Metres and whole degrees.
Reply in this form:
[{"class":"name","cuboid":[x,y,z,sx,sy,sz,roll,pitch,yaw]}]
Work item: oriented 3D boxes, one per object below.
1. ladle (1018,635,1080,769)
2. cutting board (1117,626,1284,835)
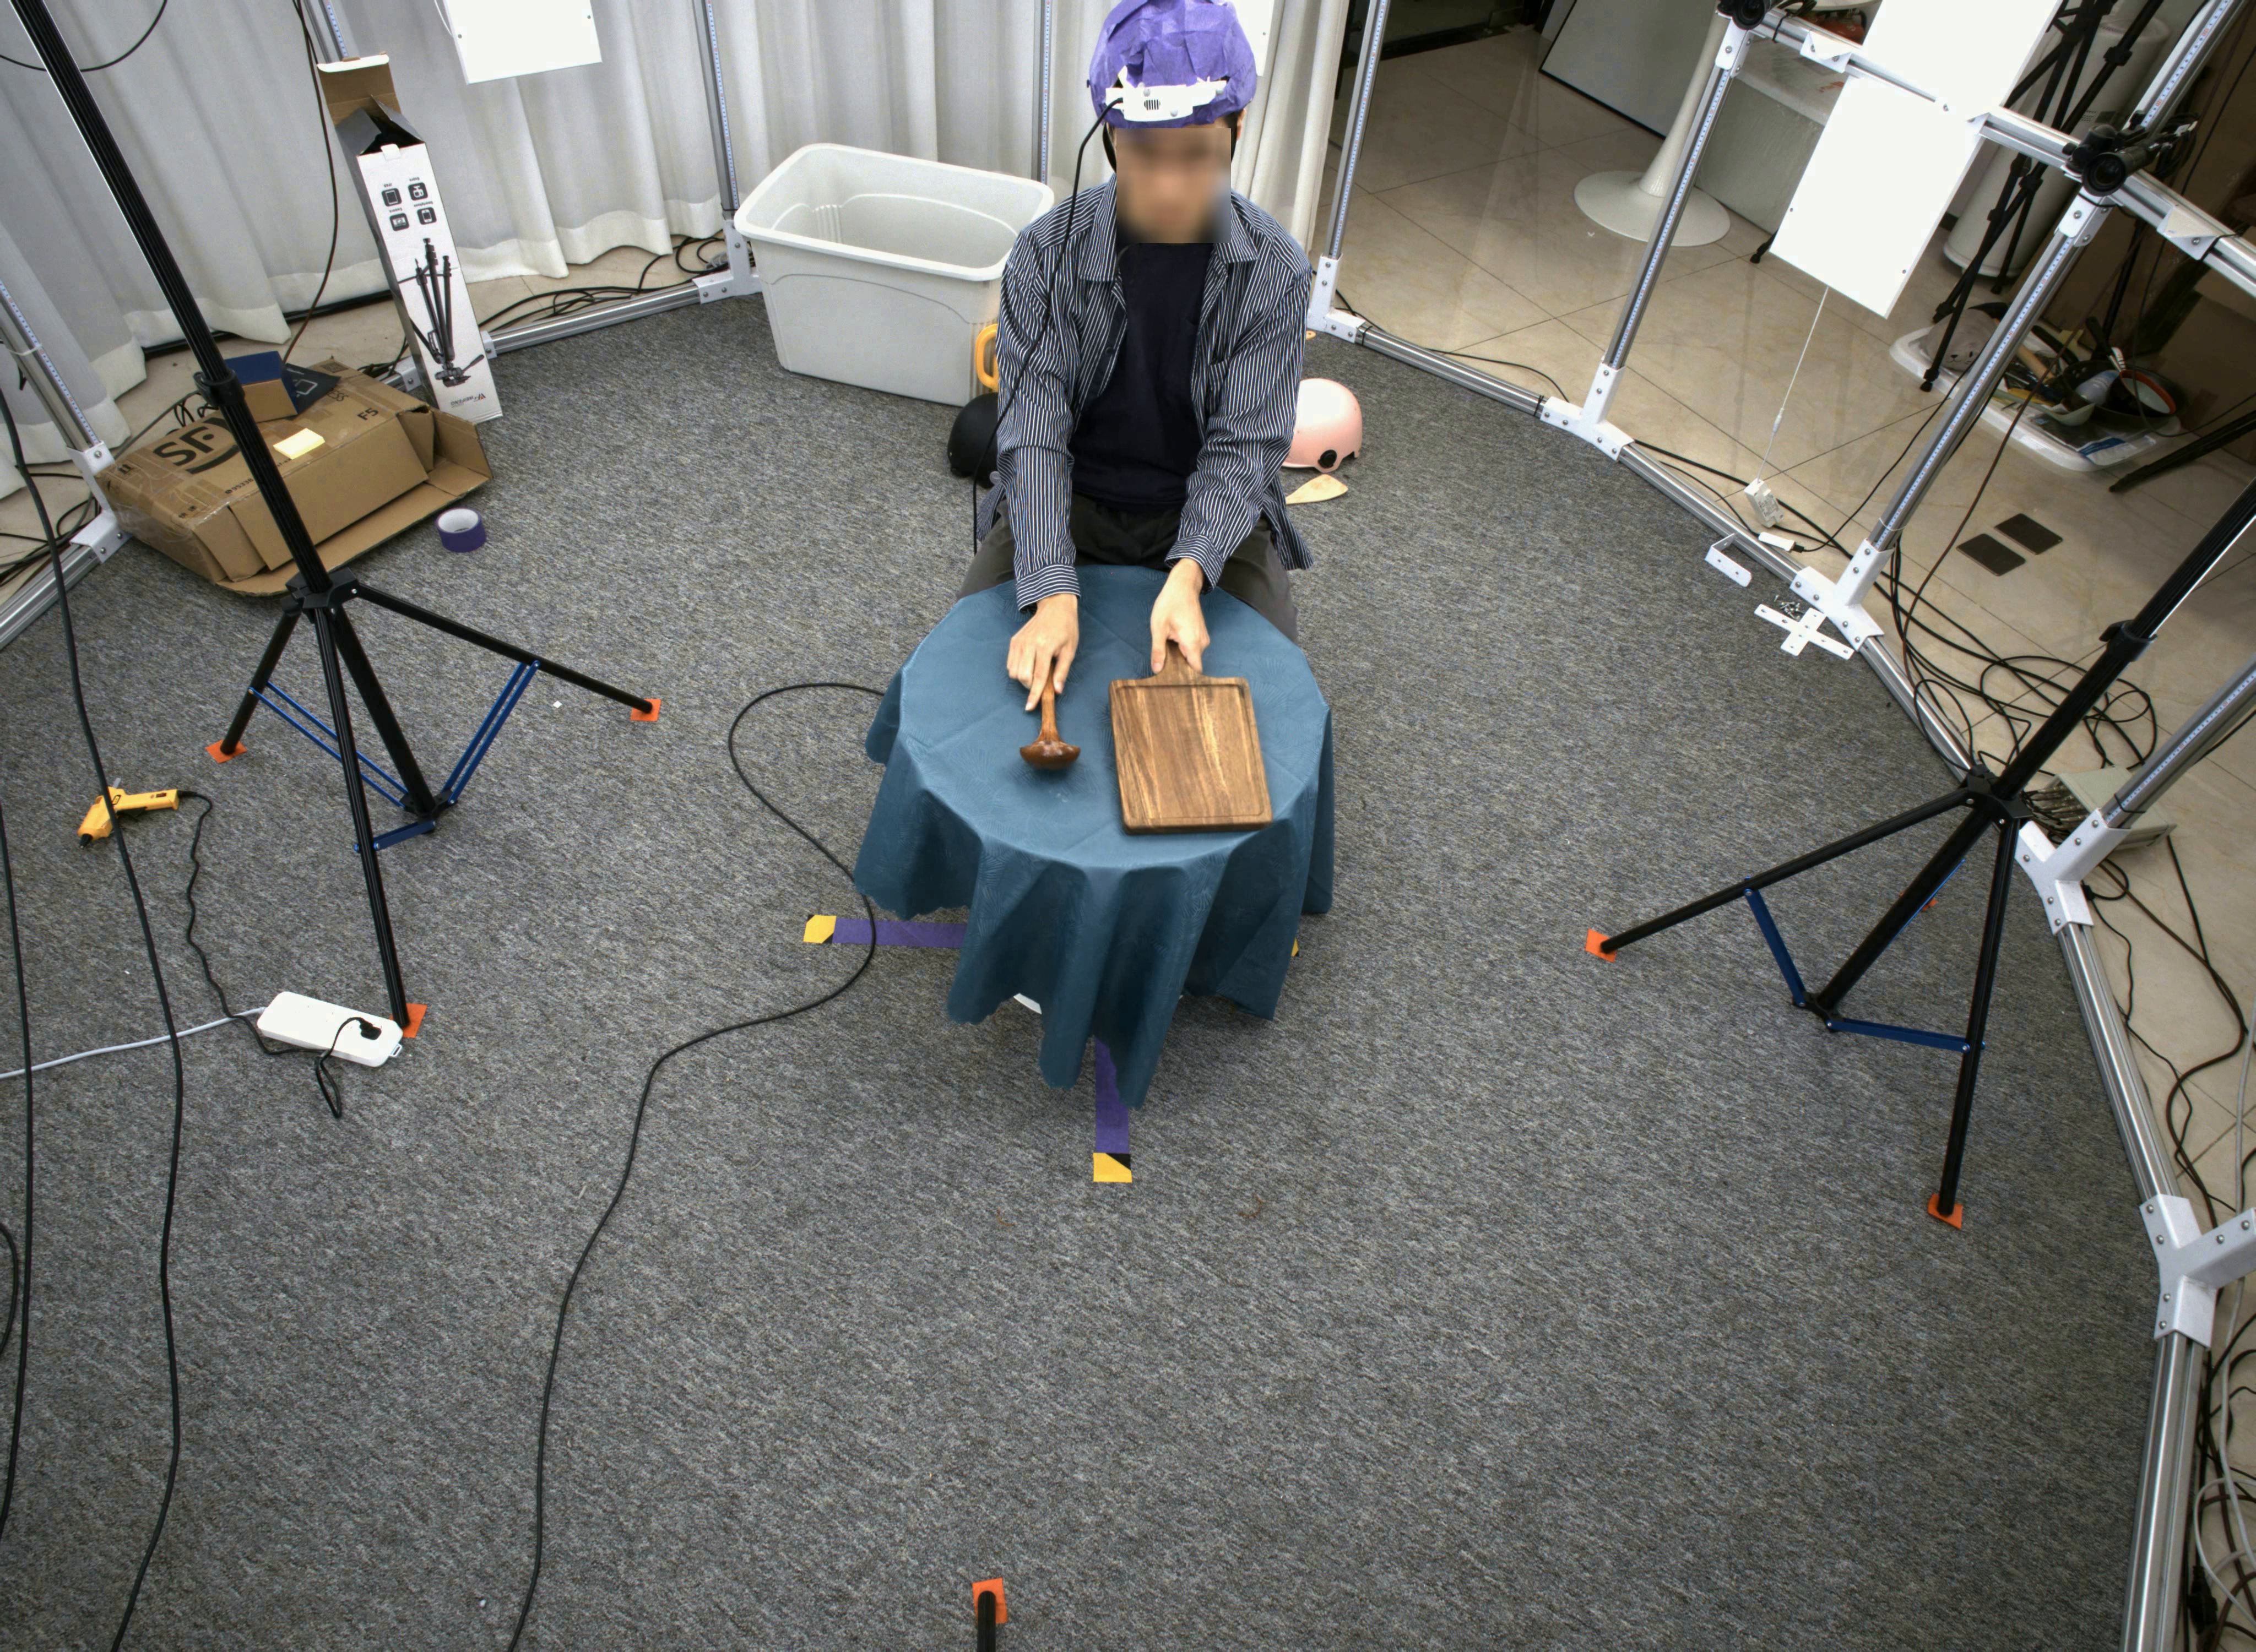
[{"class":"ladle","cuboid":[-0.108,-0.184,1.754,0.082,0.075,0.281,5,51,-9]},{"class":"cutting board","cuboid":[0.090,-0.139,1.754,0.201,0.022,0.361,-1,54,-6]}]
